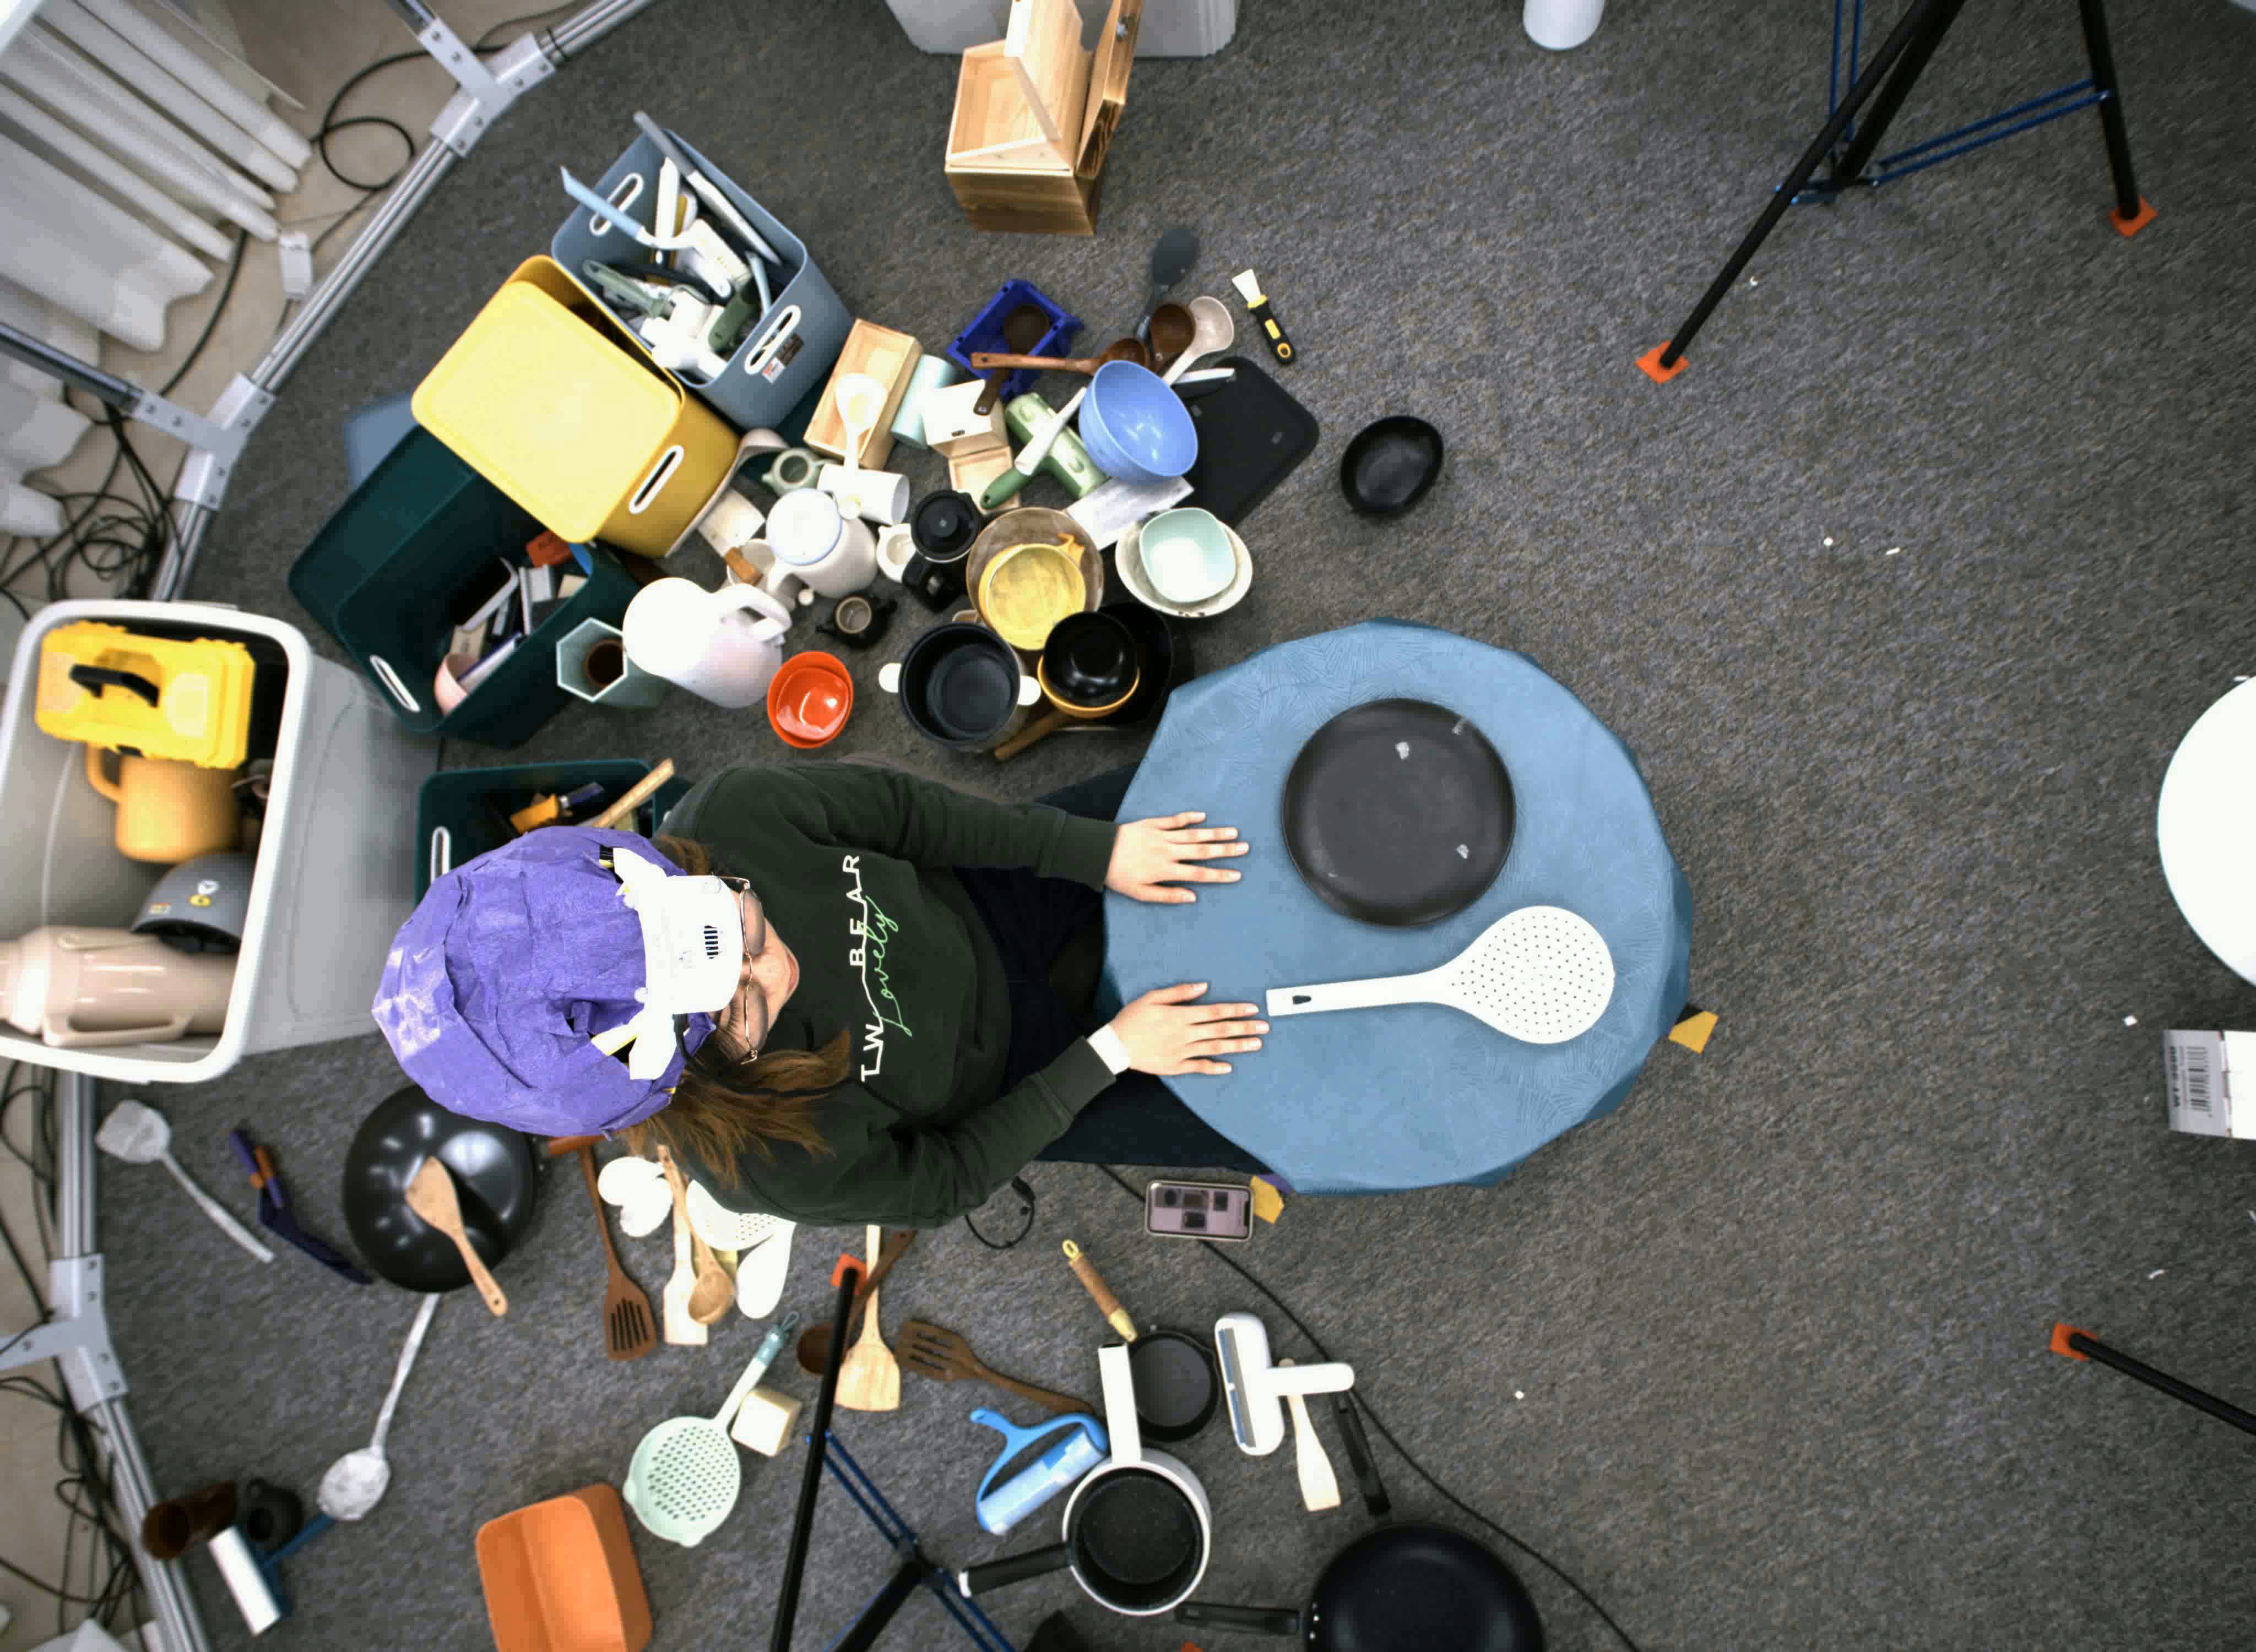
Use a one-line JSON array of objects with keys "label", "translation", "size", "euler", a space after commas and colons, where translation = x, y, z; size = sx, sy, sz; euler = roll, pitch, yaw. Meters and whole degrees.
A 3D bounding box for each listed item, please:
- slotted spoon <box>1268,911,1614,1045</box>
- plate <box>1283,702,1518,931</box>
[{"label": "slotted spoon", "translation": [0.319, 0.166, 1.426], "size": [0.351, 0.046, 0.135], "euler": [-7, 82, 11]}, {"label": "plate", "translation": [0.287, -0.012, 1.456], "size": [0.245, 0.023, 0.243], "euler": [-1, 86, 10]}]
